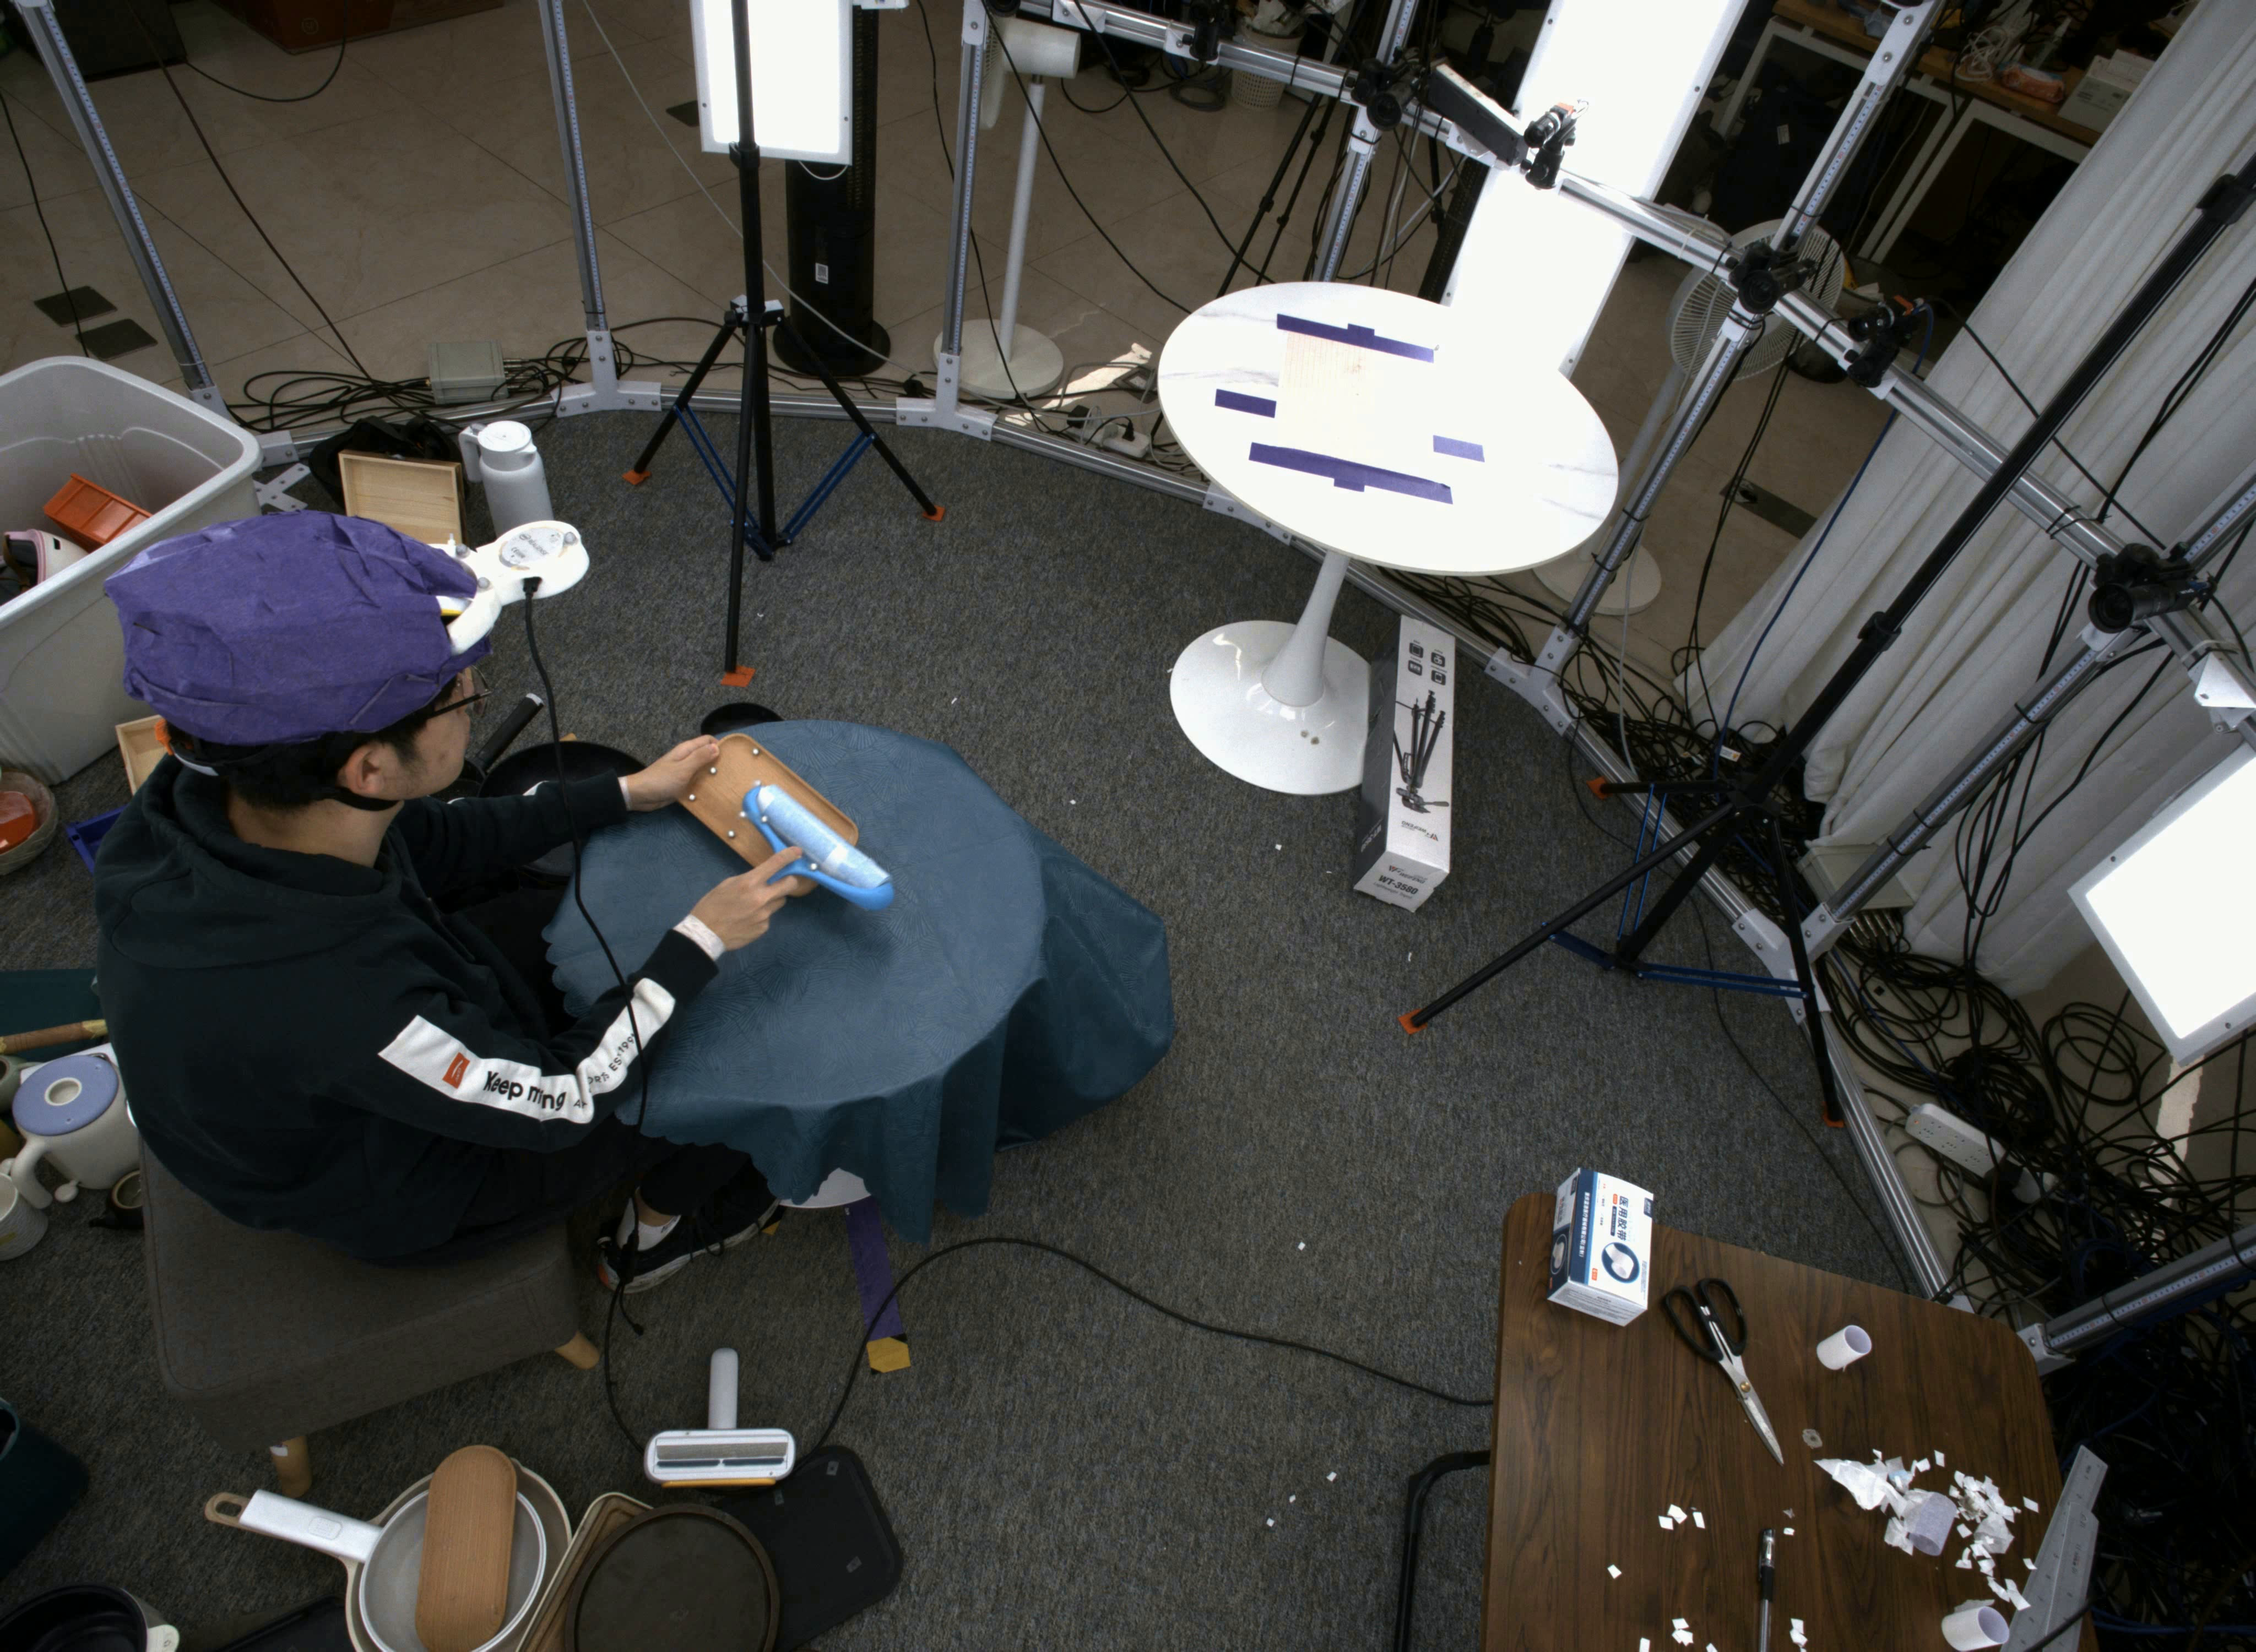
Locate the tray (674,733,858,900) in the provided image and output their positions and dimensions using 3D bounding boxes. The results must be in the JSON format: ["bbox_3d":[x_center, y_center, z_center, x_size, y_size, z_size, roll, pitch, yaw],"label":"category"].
[{"bbox_3d":[-0.468,-0.015,1.672,0.246,0.023,0.130,39,73,13],"label":"tray"}]

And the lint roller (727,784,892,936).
[{"bbox_3d":[-0.416,0.059,1.576,0.227,0.068,0.180,36,50,3],"label":"lint roller"}]
